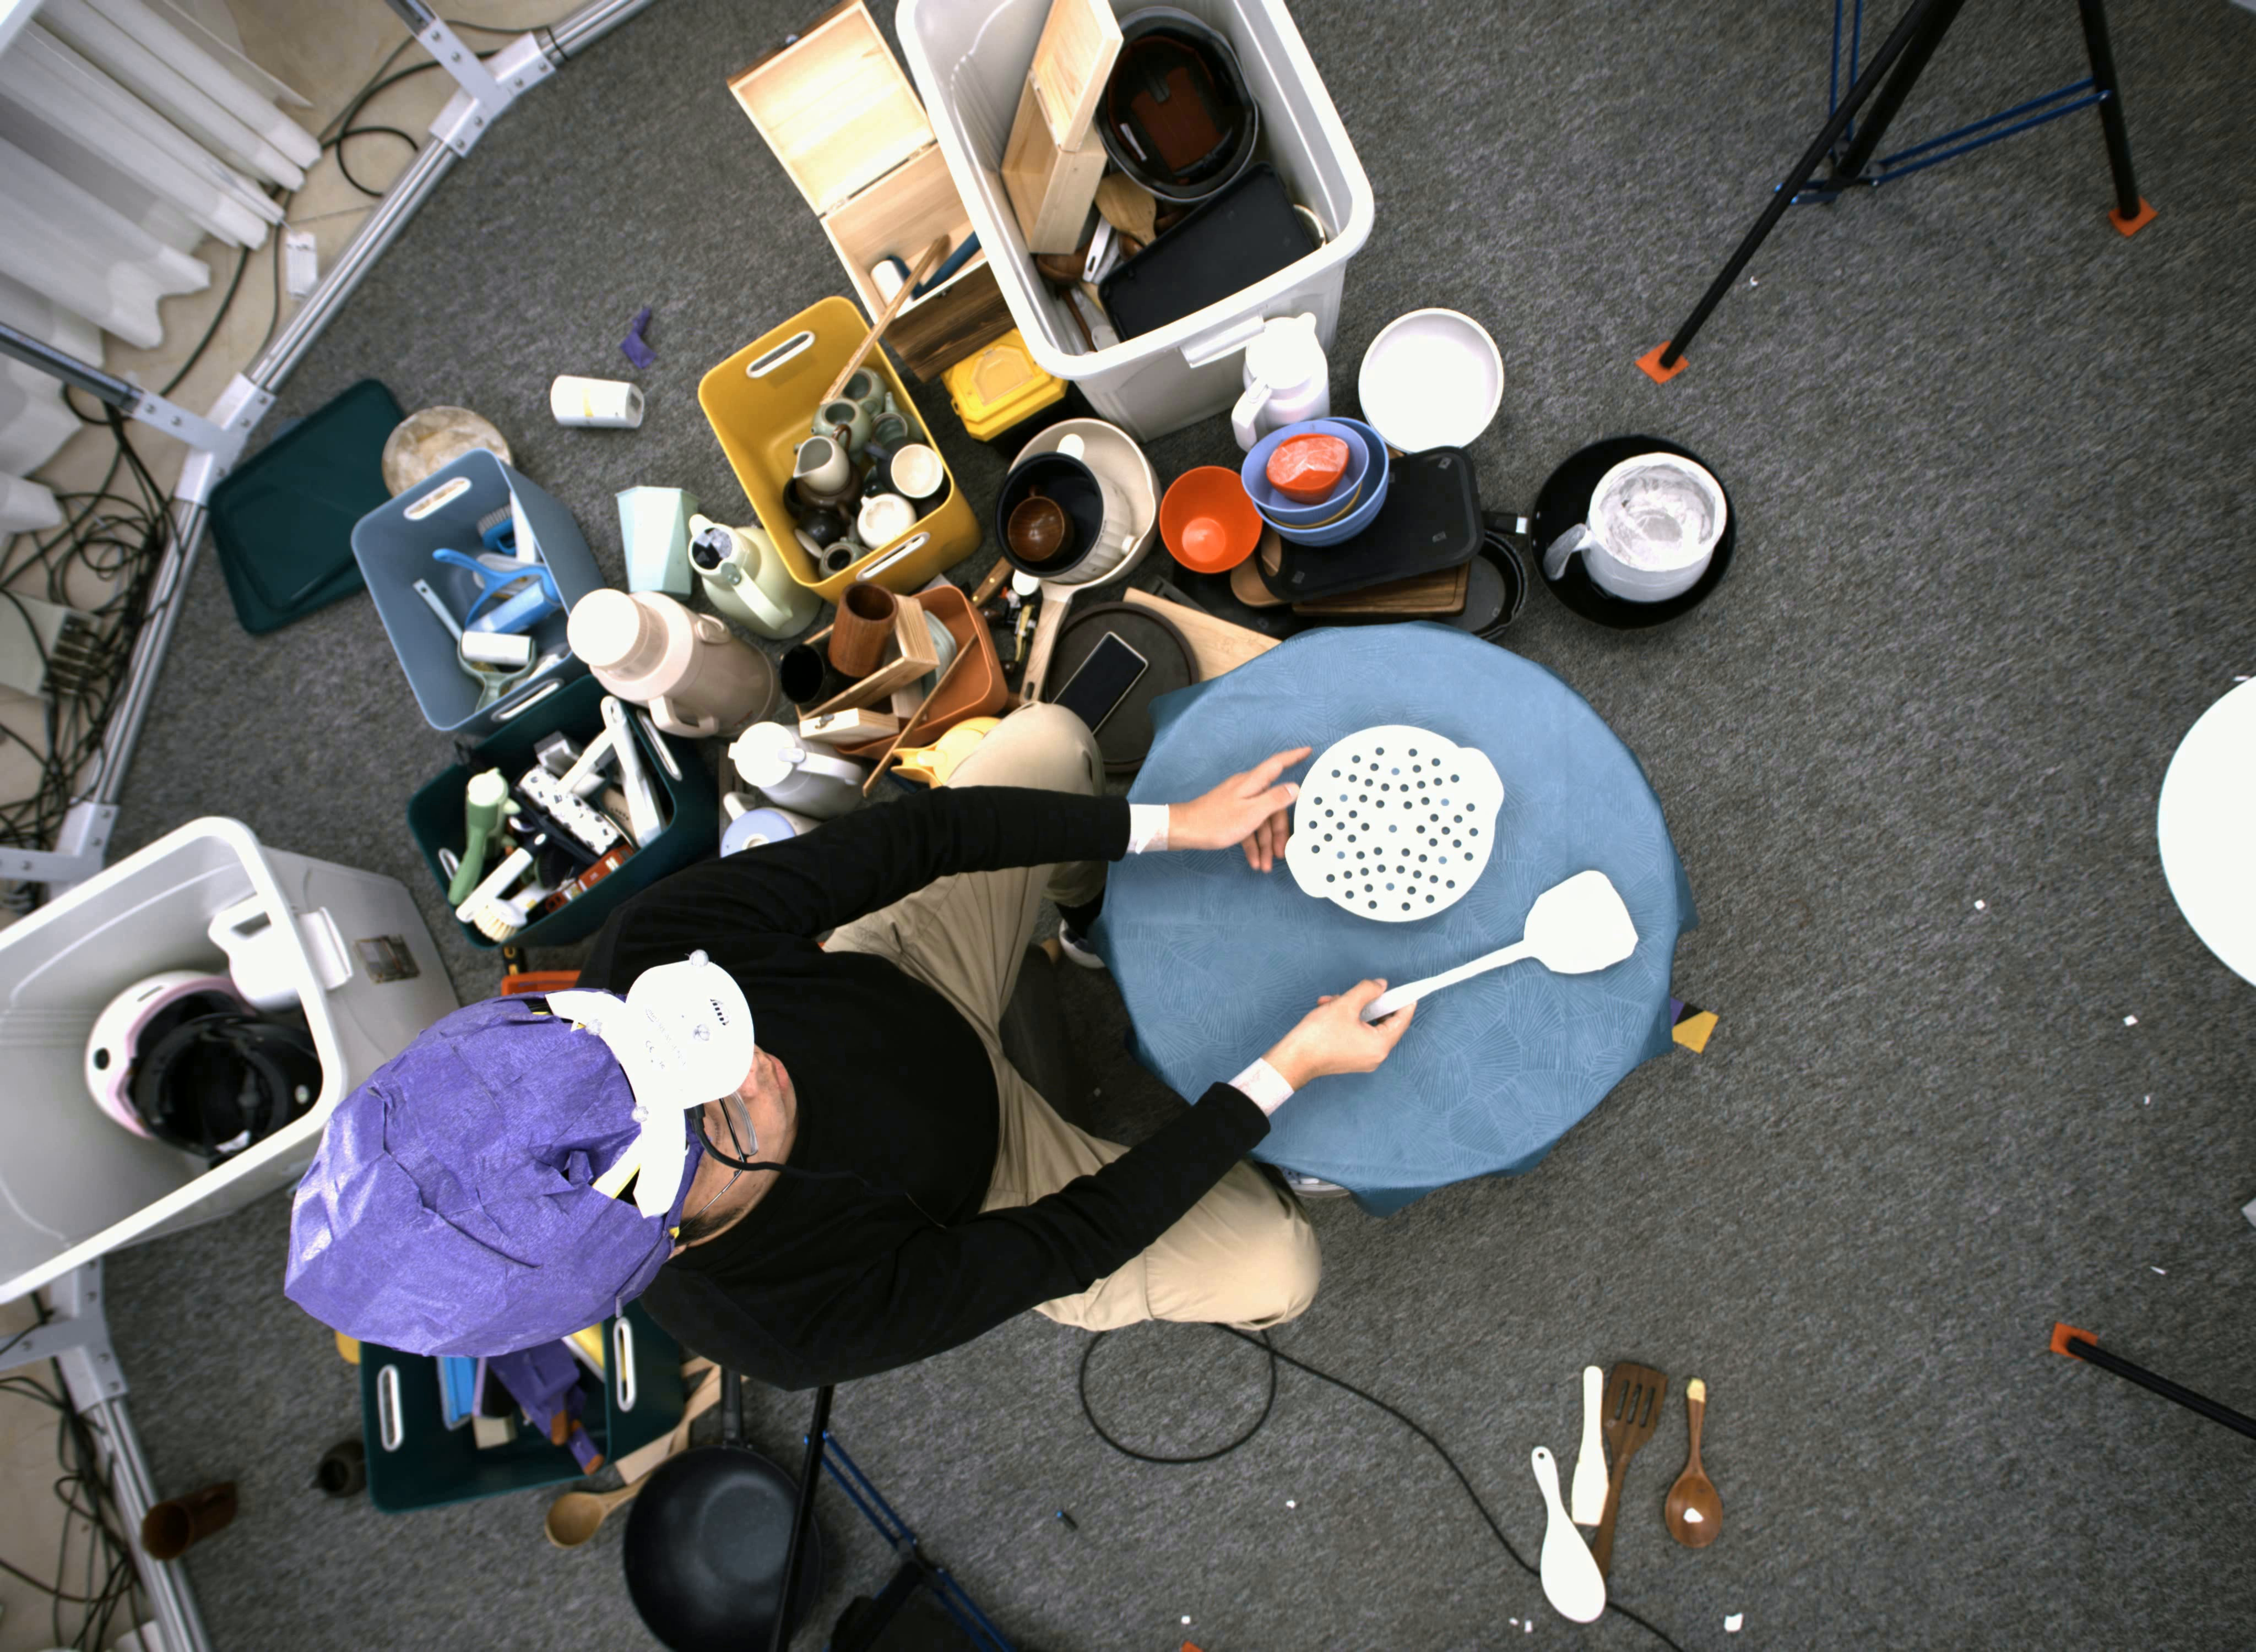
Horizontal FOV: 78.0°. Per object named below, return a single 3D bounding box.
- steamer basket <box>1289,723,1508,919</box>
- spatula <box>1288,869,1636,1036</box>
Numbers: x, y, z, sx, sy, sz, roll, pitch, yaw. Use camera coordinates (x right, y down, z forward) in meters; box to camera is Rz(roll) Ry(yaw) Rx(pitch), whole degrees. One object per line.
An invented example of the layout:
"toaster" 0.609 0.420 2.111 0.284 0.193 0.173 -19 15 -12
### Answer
"steamer basket" 0.279 -0.004 1.427 0.232 0.069 0.200 -27 81 9
"spatula" 0.337 0.145 1.405 0.365 0.045 0.097 -20 77 -2
